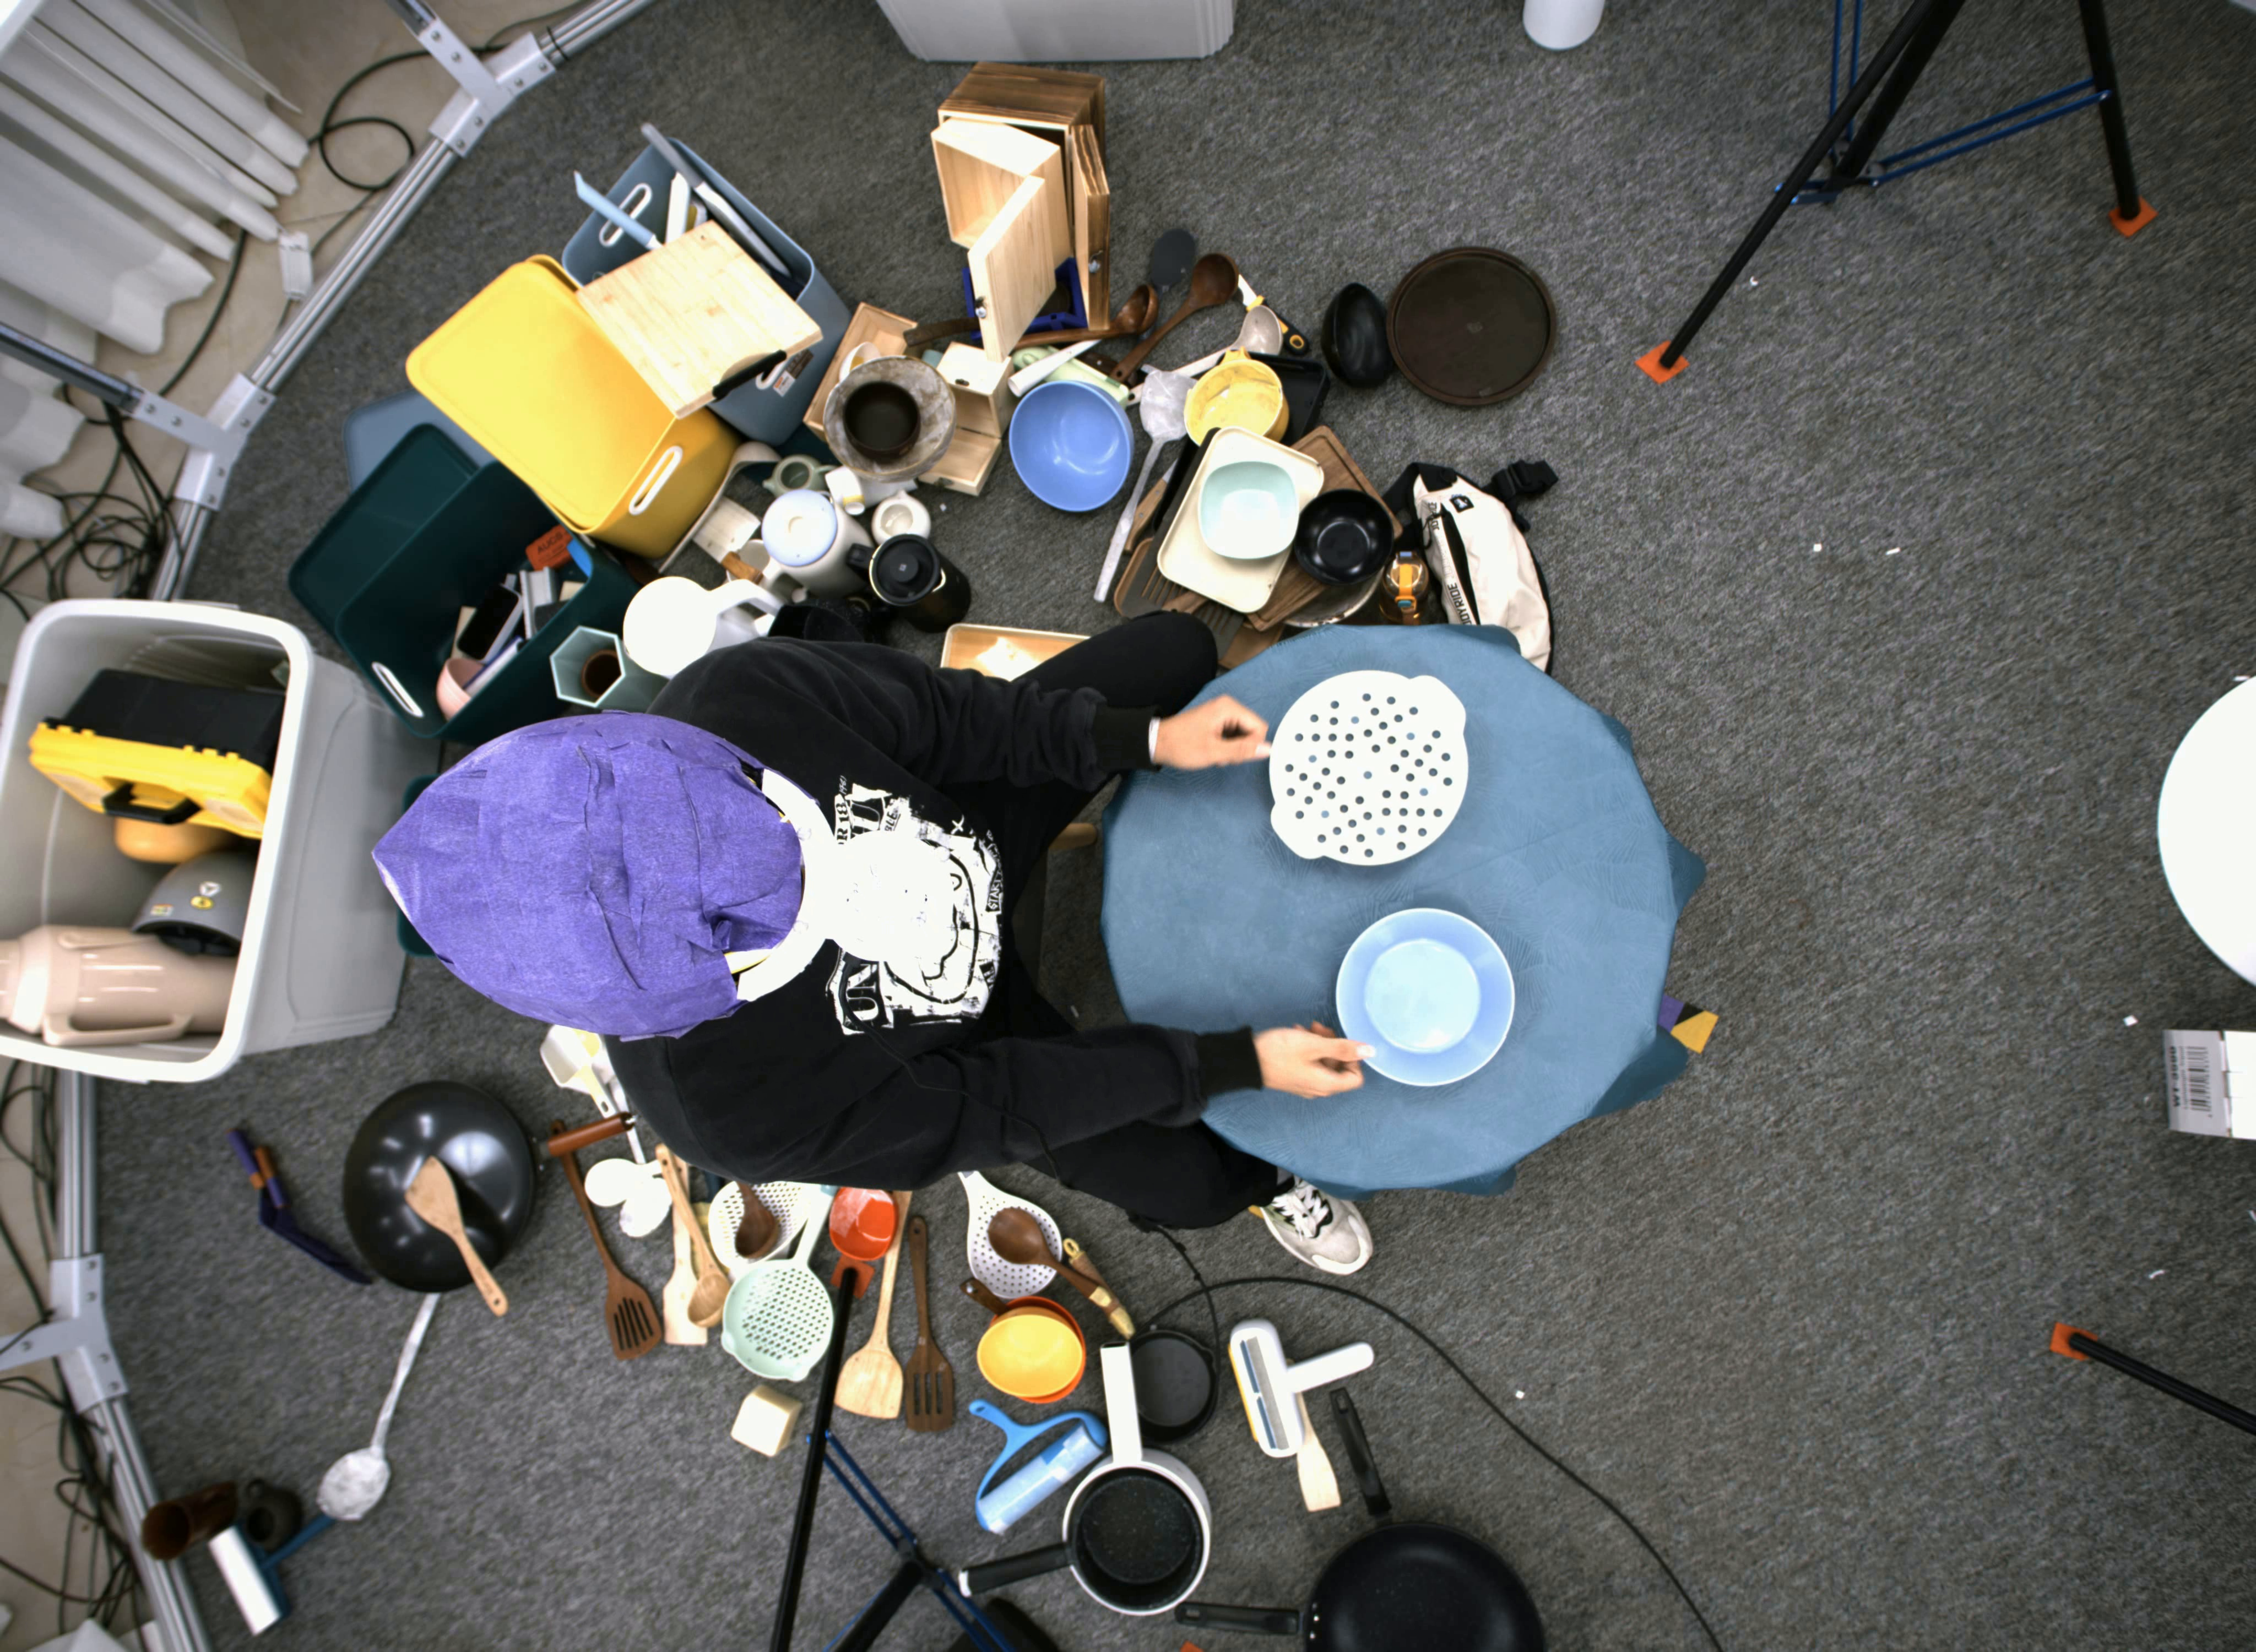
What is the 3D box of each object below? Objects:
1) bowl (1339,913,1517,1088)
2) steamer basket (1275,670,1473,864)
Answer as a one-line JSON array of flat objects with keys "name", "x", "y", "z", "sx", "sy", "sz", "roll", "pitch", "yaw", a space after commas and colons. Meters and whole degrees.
[{"name": "bowl", "x": 0.305, "y": 0.177, "z": 1.415, "sx": 0.177, "sy": 0.070, "sz": 0.175, "roll": -1, "pitch": 85, "yaw": 10}, {"name": "steamer basket", "x": 0.256, "y": -0.060, "z": 1.441, "sx": 0.231, "sy": 0.069, "sz": 0.201, "roll": -43, "pitch": 80, "yaw": 3}]
